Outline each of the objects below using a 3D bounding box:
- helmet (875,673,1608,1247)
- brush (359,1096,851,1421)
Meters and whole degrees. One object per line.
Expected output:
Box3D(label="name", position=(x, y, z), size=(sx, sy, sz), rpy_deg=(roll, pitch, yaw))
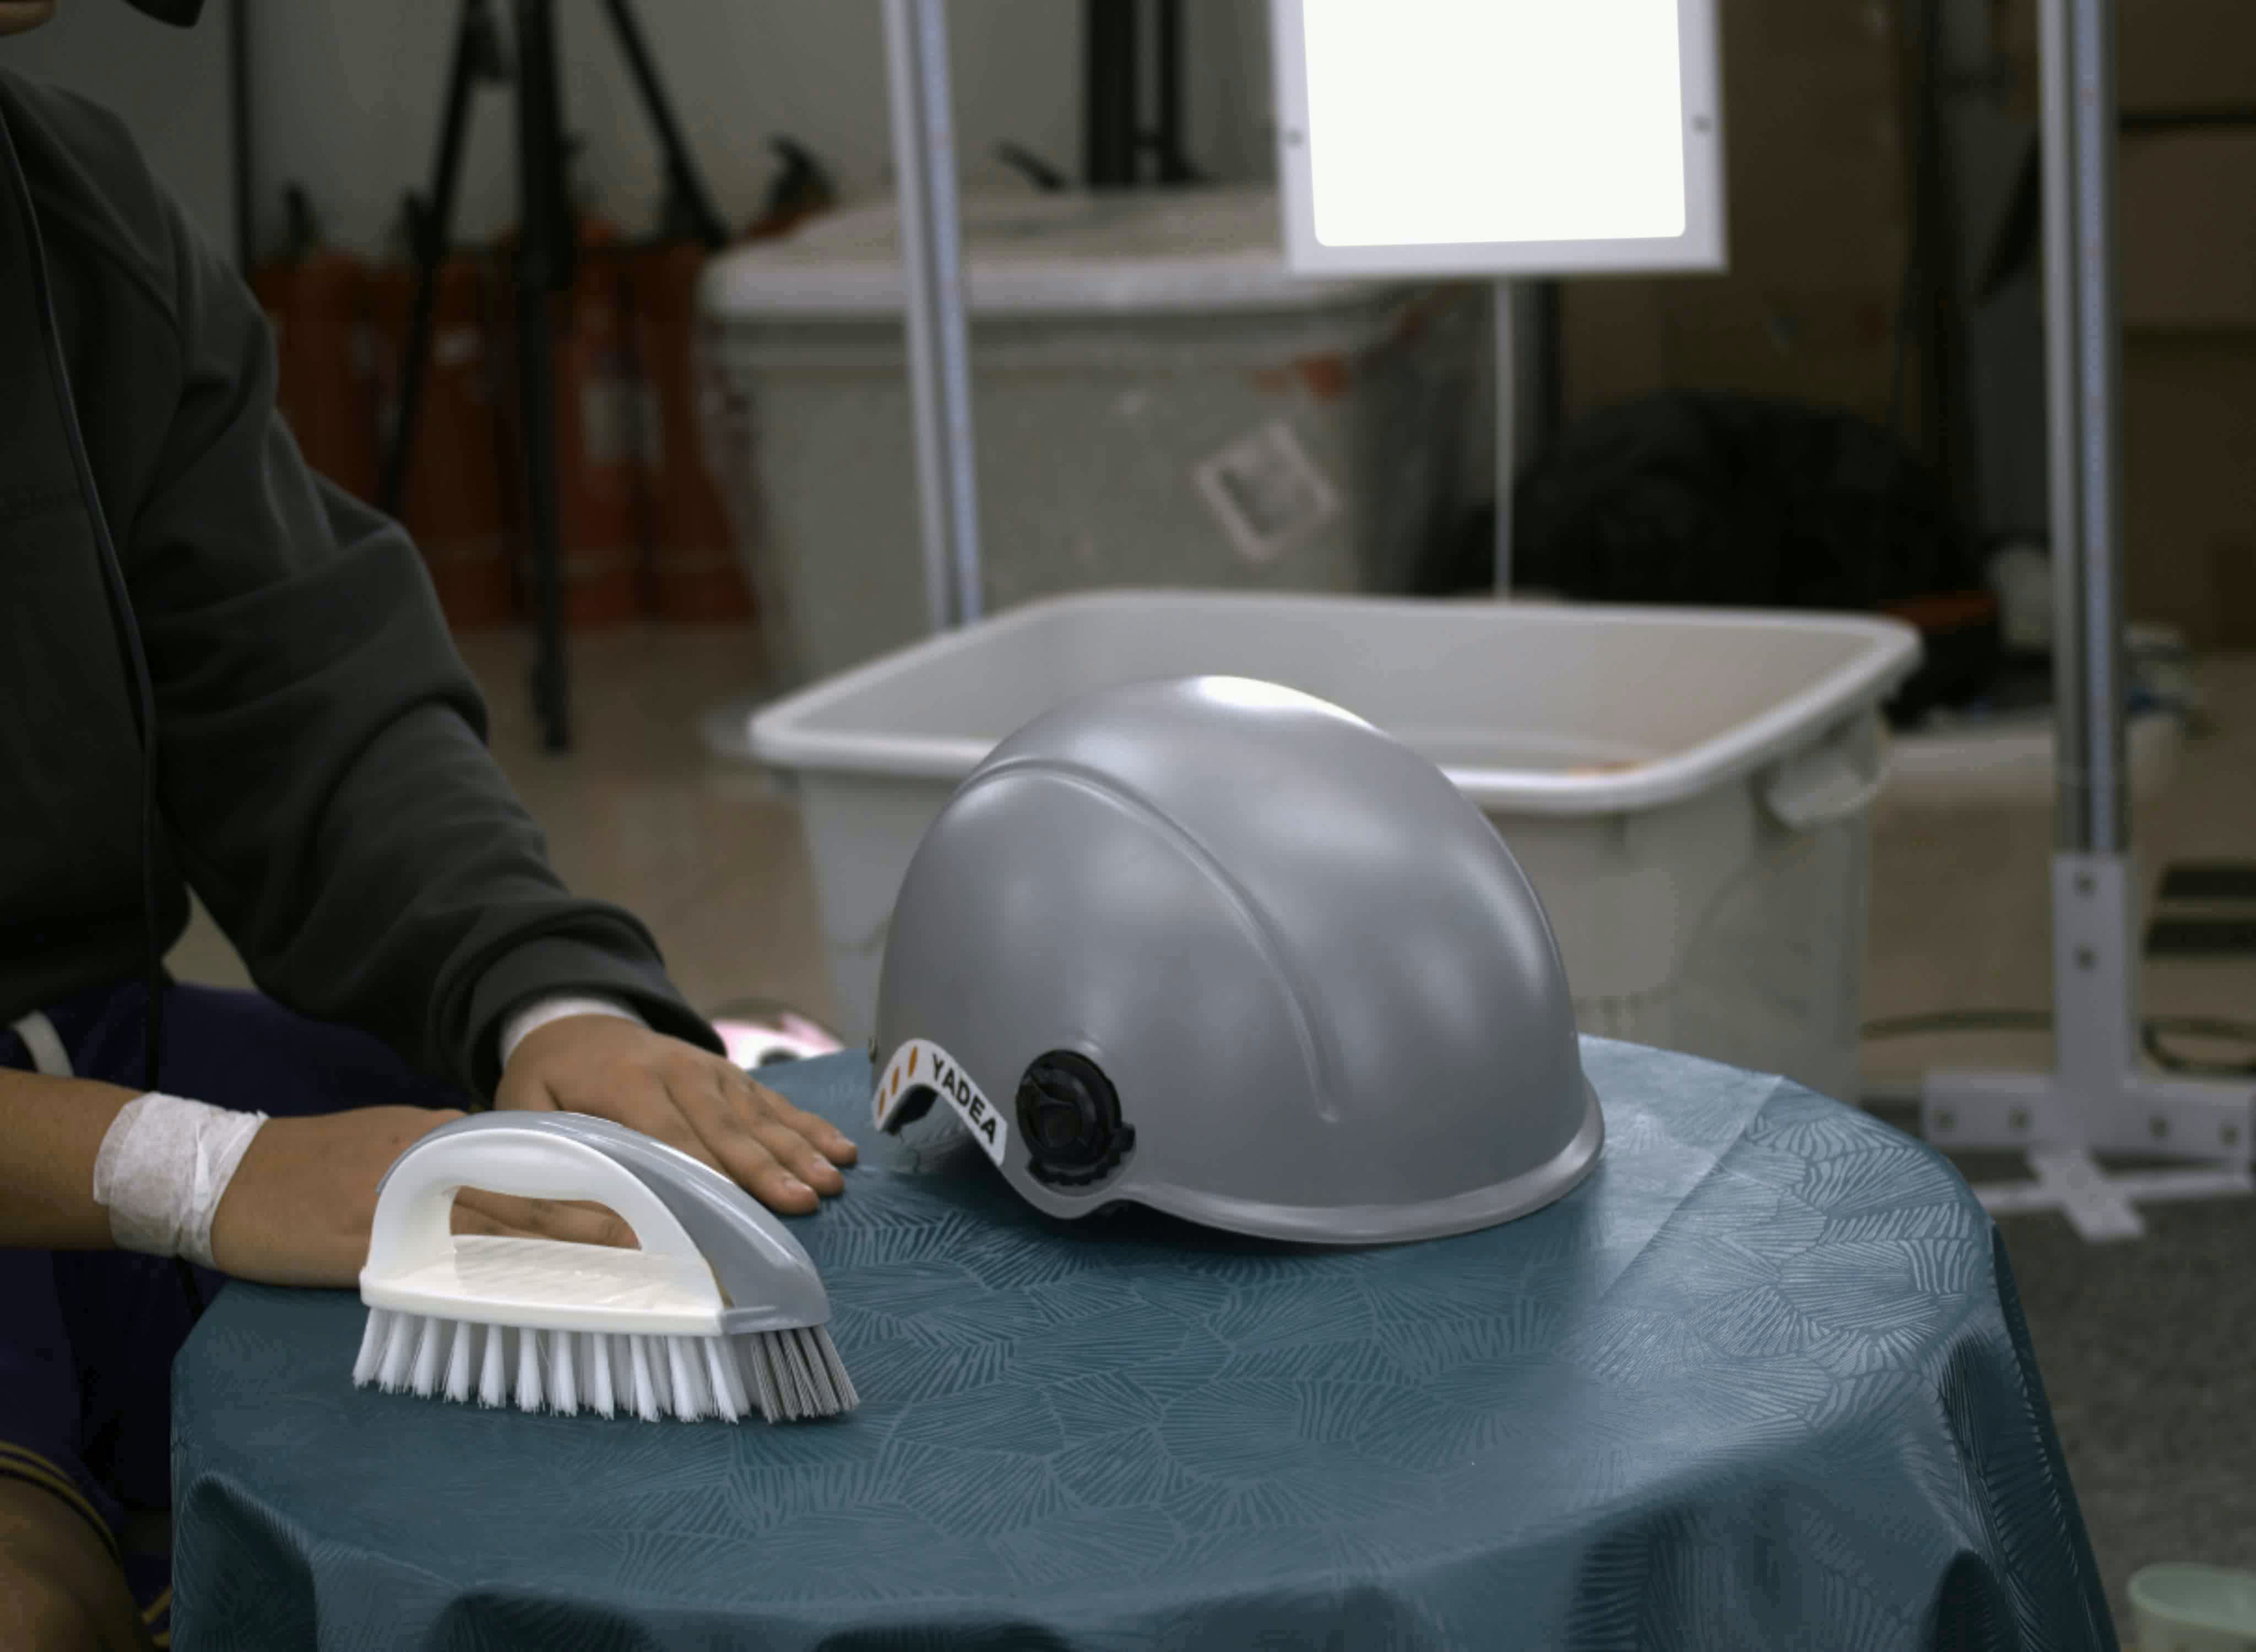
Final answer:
Box3D(label="helmet", position=(0.037, 0.035, 1.914), size=(0.226, 0.169, 0.282), rpy_deg=(-17, 20, -37))
Box3D(label="brush", position=(-0.164, 0.134, 1.736), size=(0.179, 0.094, 0.060), rpy_deg=(7, 19, 31))
